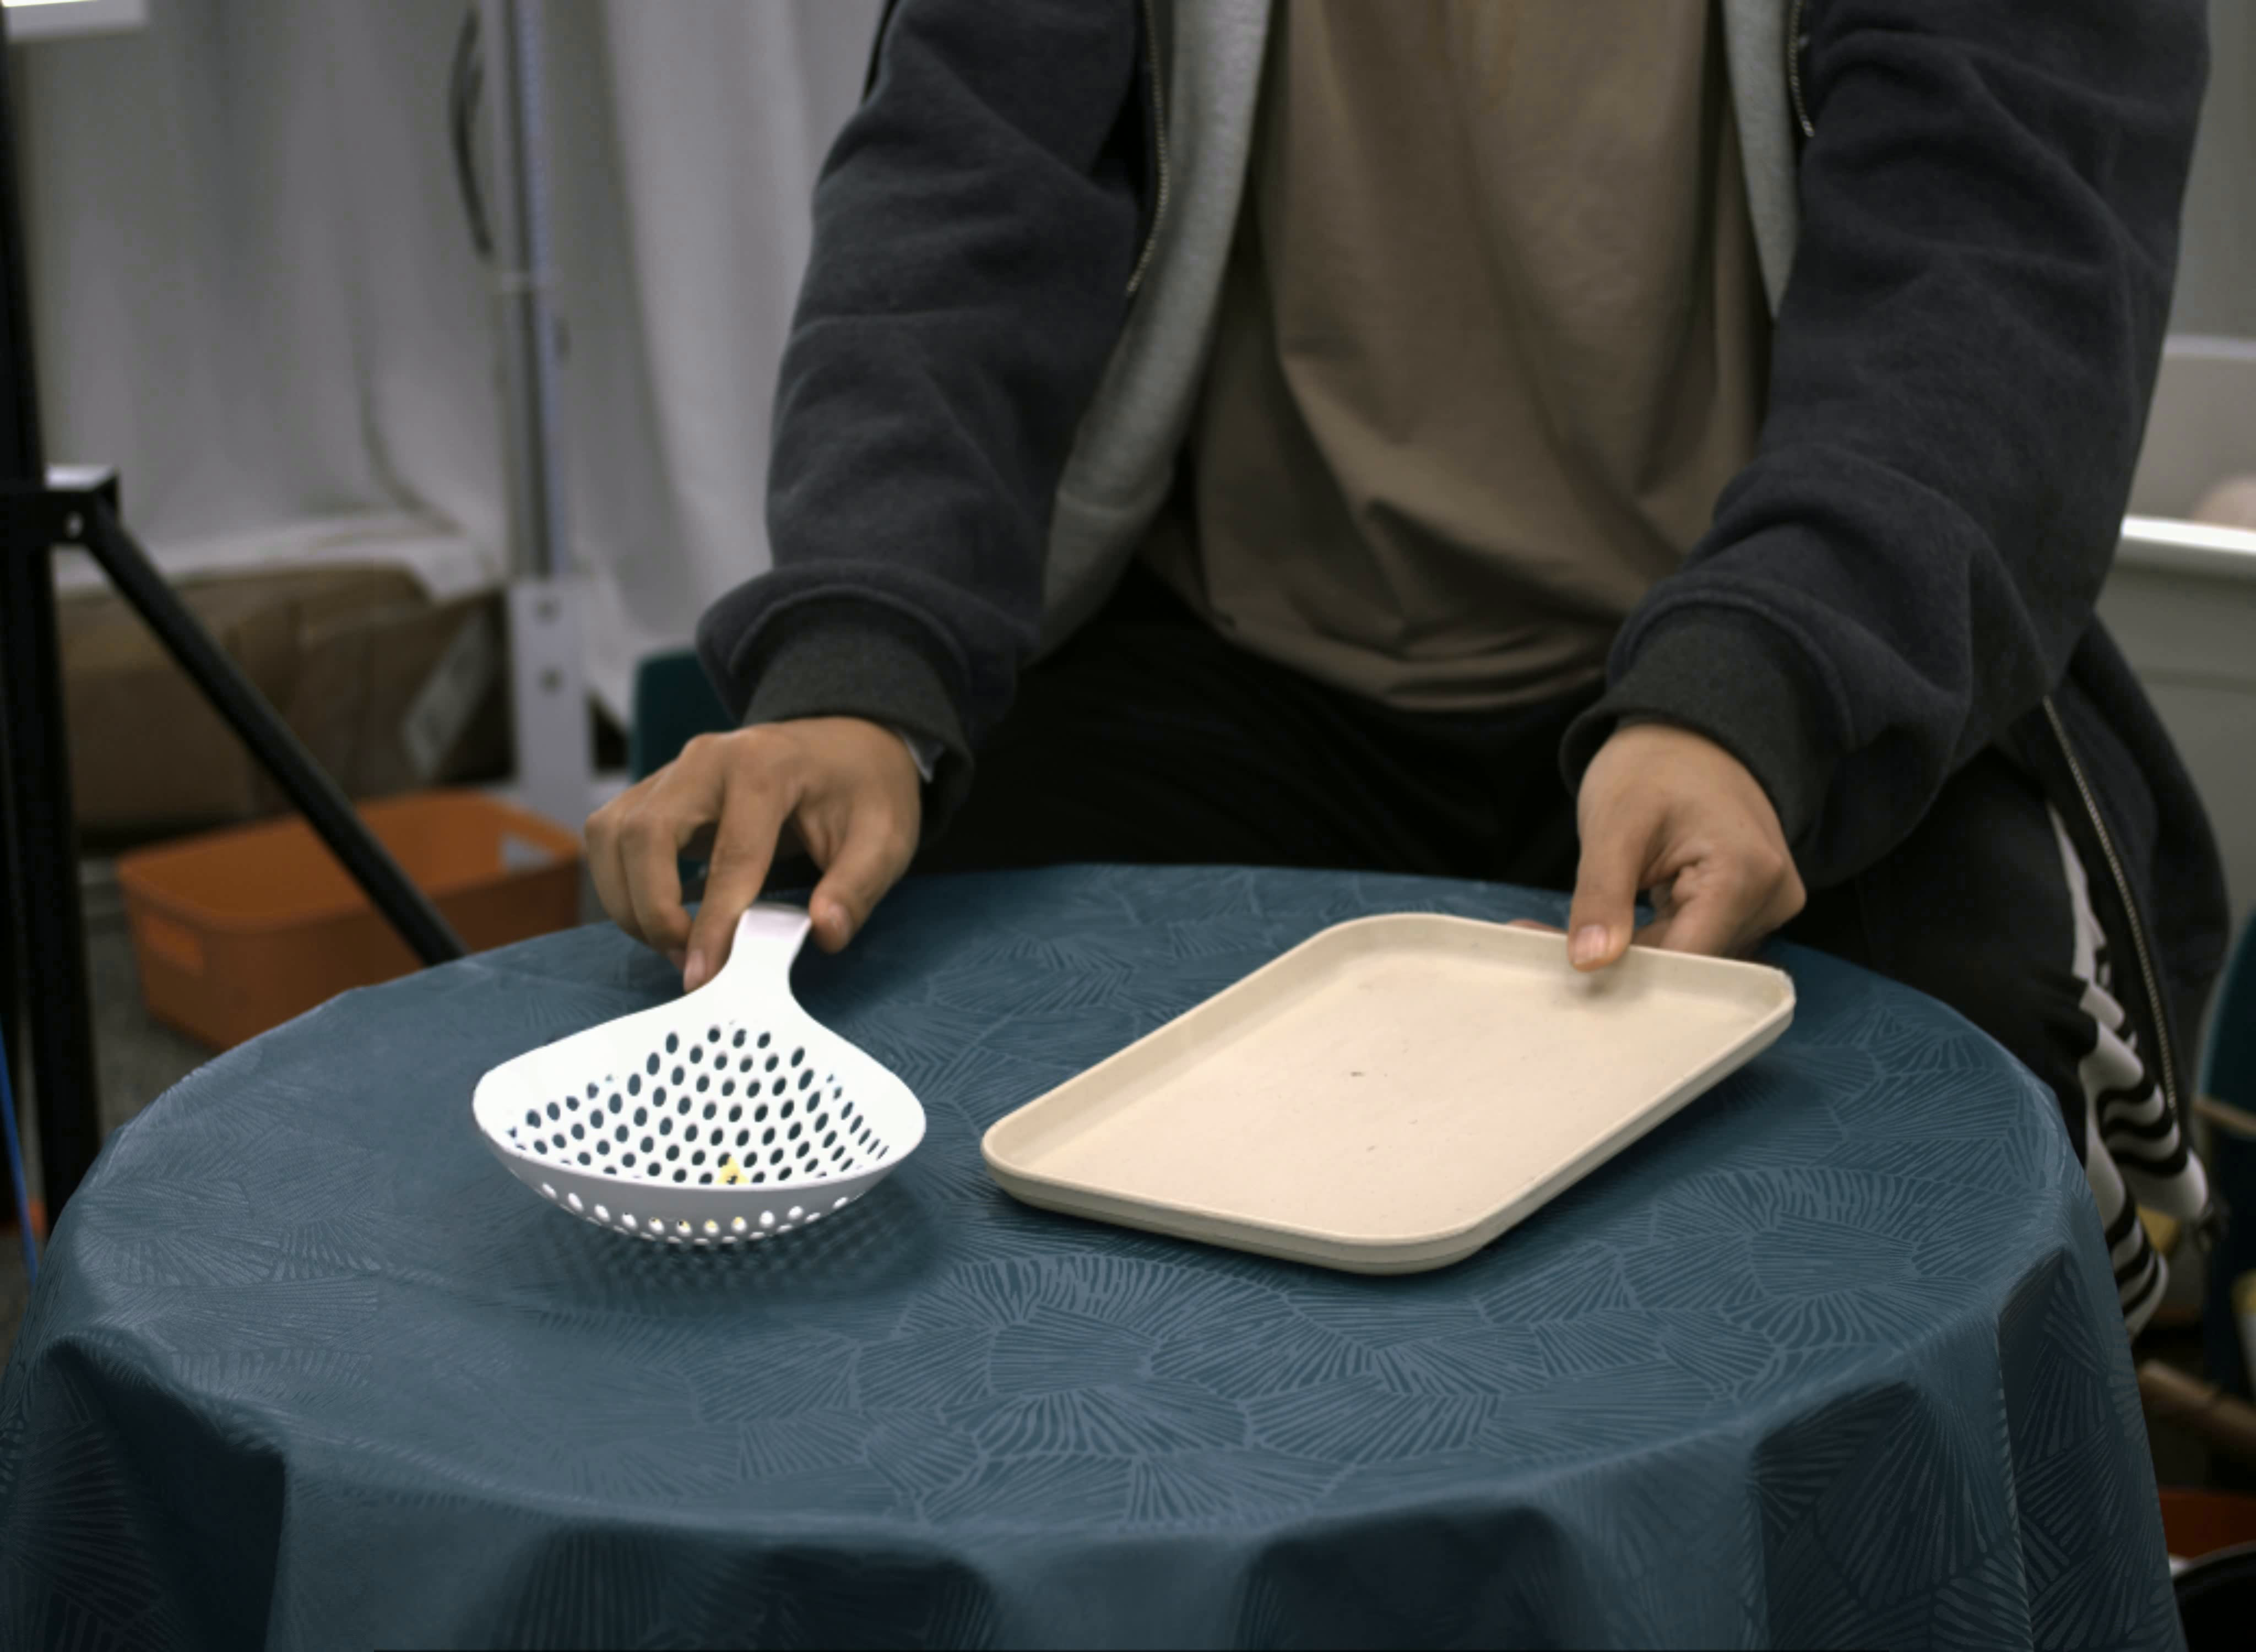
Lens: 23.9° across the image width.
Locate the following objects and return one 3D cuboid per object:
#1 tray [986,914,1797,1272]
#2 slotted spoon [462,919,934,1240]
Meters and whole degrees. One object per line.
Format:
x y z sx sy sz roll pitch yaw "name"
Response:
0.082 0.079 1.595 0.175 0.017 0.235 8 22 35 "tray"
-0.121 0.065 1.648 0.136 0.050 0.349 1 17 2 "slotted spoon"
